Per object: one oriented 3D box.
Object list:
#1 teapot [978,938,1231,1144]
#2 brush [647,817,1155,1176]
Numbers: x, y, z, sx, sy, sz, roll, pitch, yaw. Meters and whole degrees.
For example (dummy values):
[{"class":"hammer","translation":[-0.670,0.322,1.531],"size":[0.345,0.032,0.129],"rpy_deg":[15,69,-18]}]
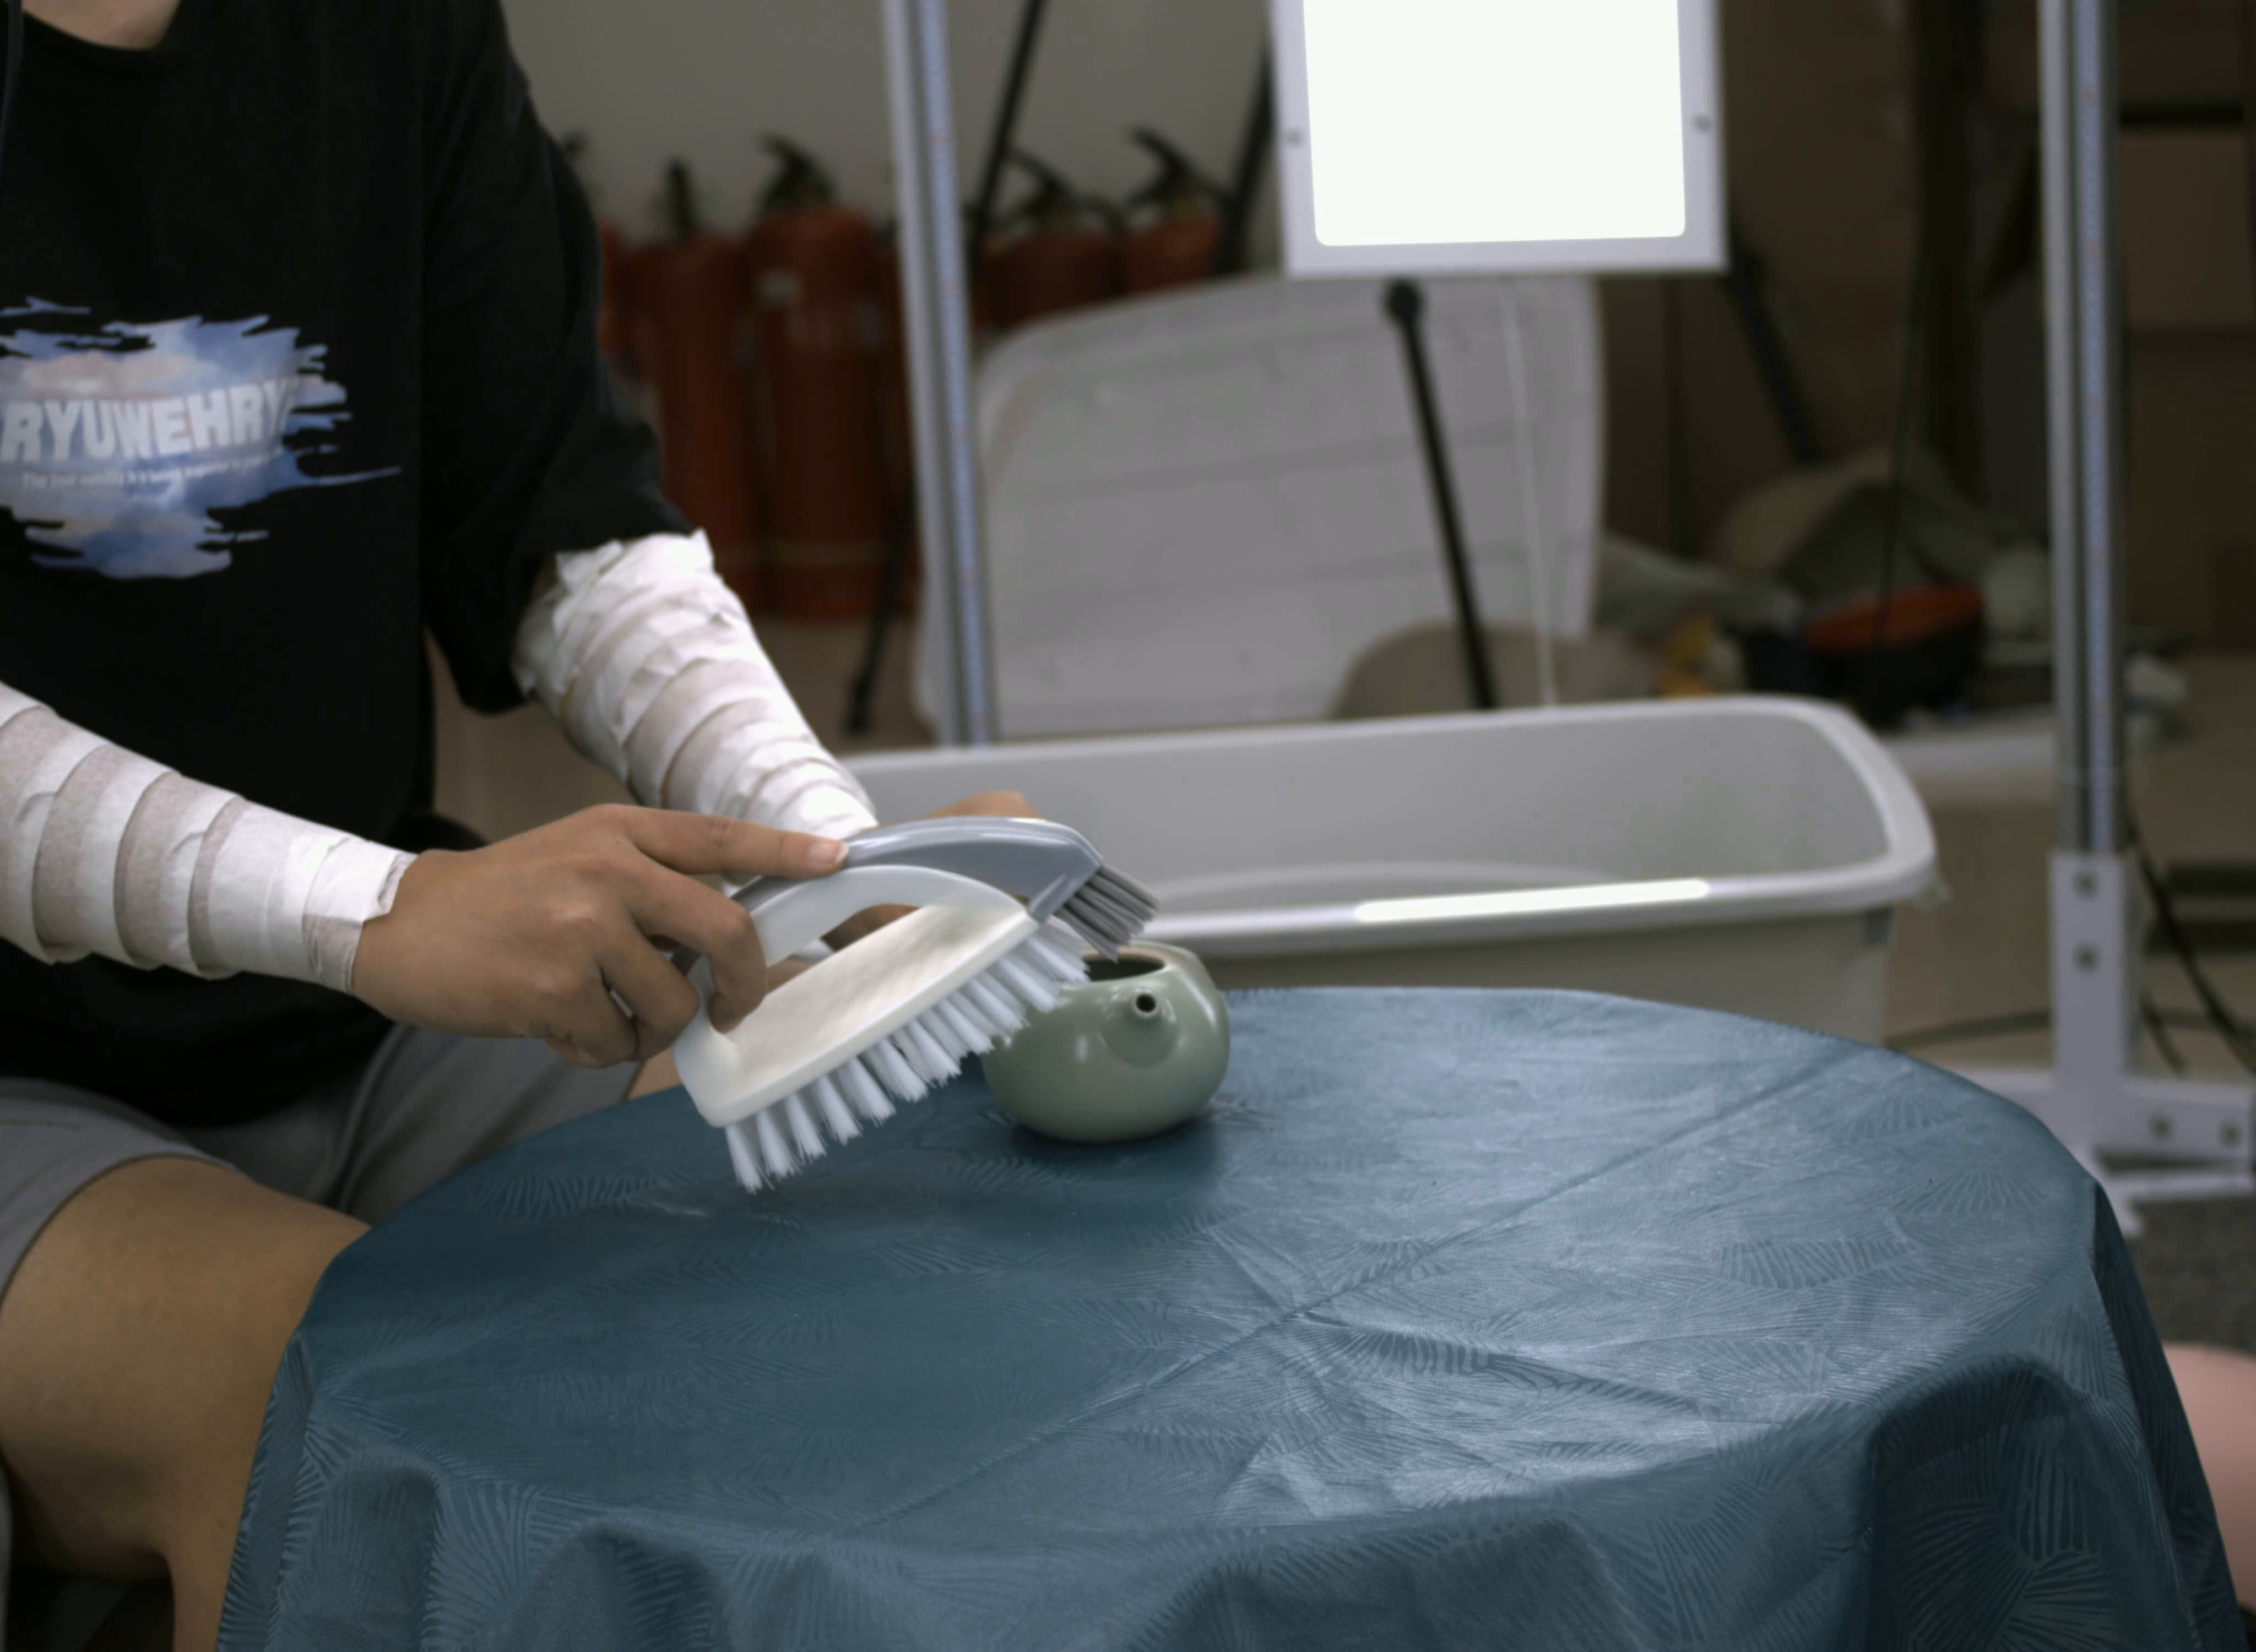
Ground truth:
[{"class":"teapot","translation":[-0.011,0.075,1.985],"size":[0.090,0.061,0.129],"rpy_deg":[-9,14,-11]},{"class":"brush","translation":[-0.085,0.041,1.897],"size":[0.177,0.093,0.061],"rpy_deg":[-28,30,13]}]
